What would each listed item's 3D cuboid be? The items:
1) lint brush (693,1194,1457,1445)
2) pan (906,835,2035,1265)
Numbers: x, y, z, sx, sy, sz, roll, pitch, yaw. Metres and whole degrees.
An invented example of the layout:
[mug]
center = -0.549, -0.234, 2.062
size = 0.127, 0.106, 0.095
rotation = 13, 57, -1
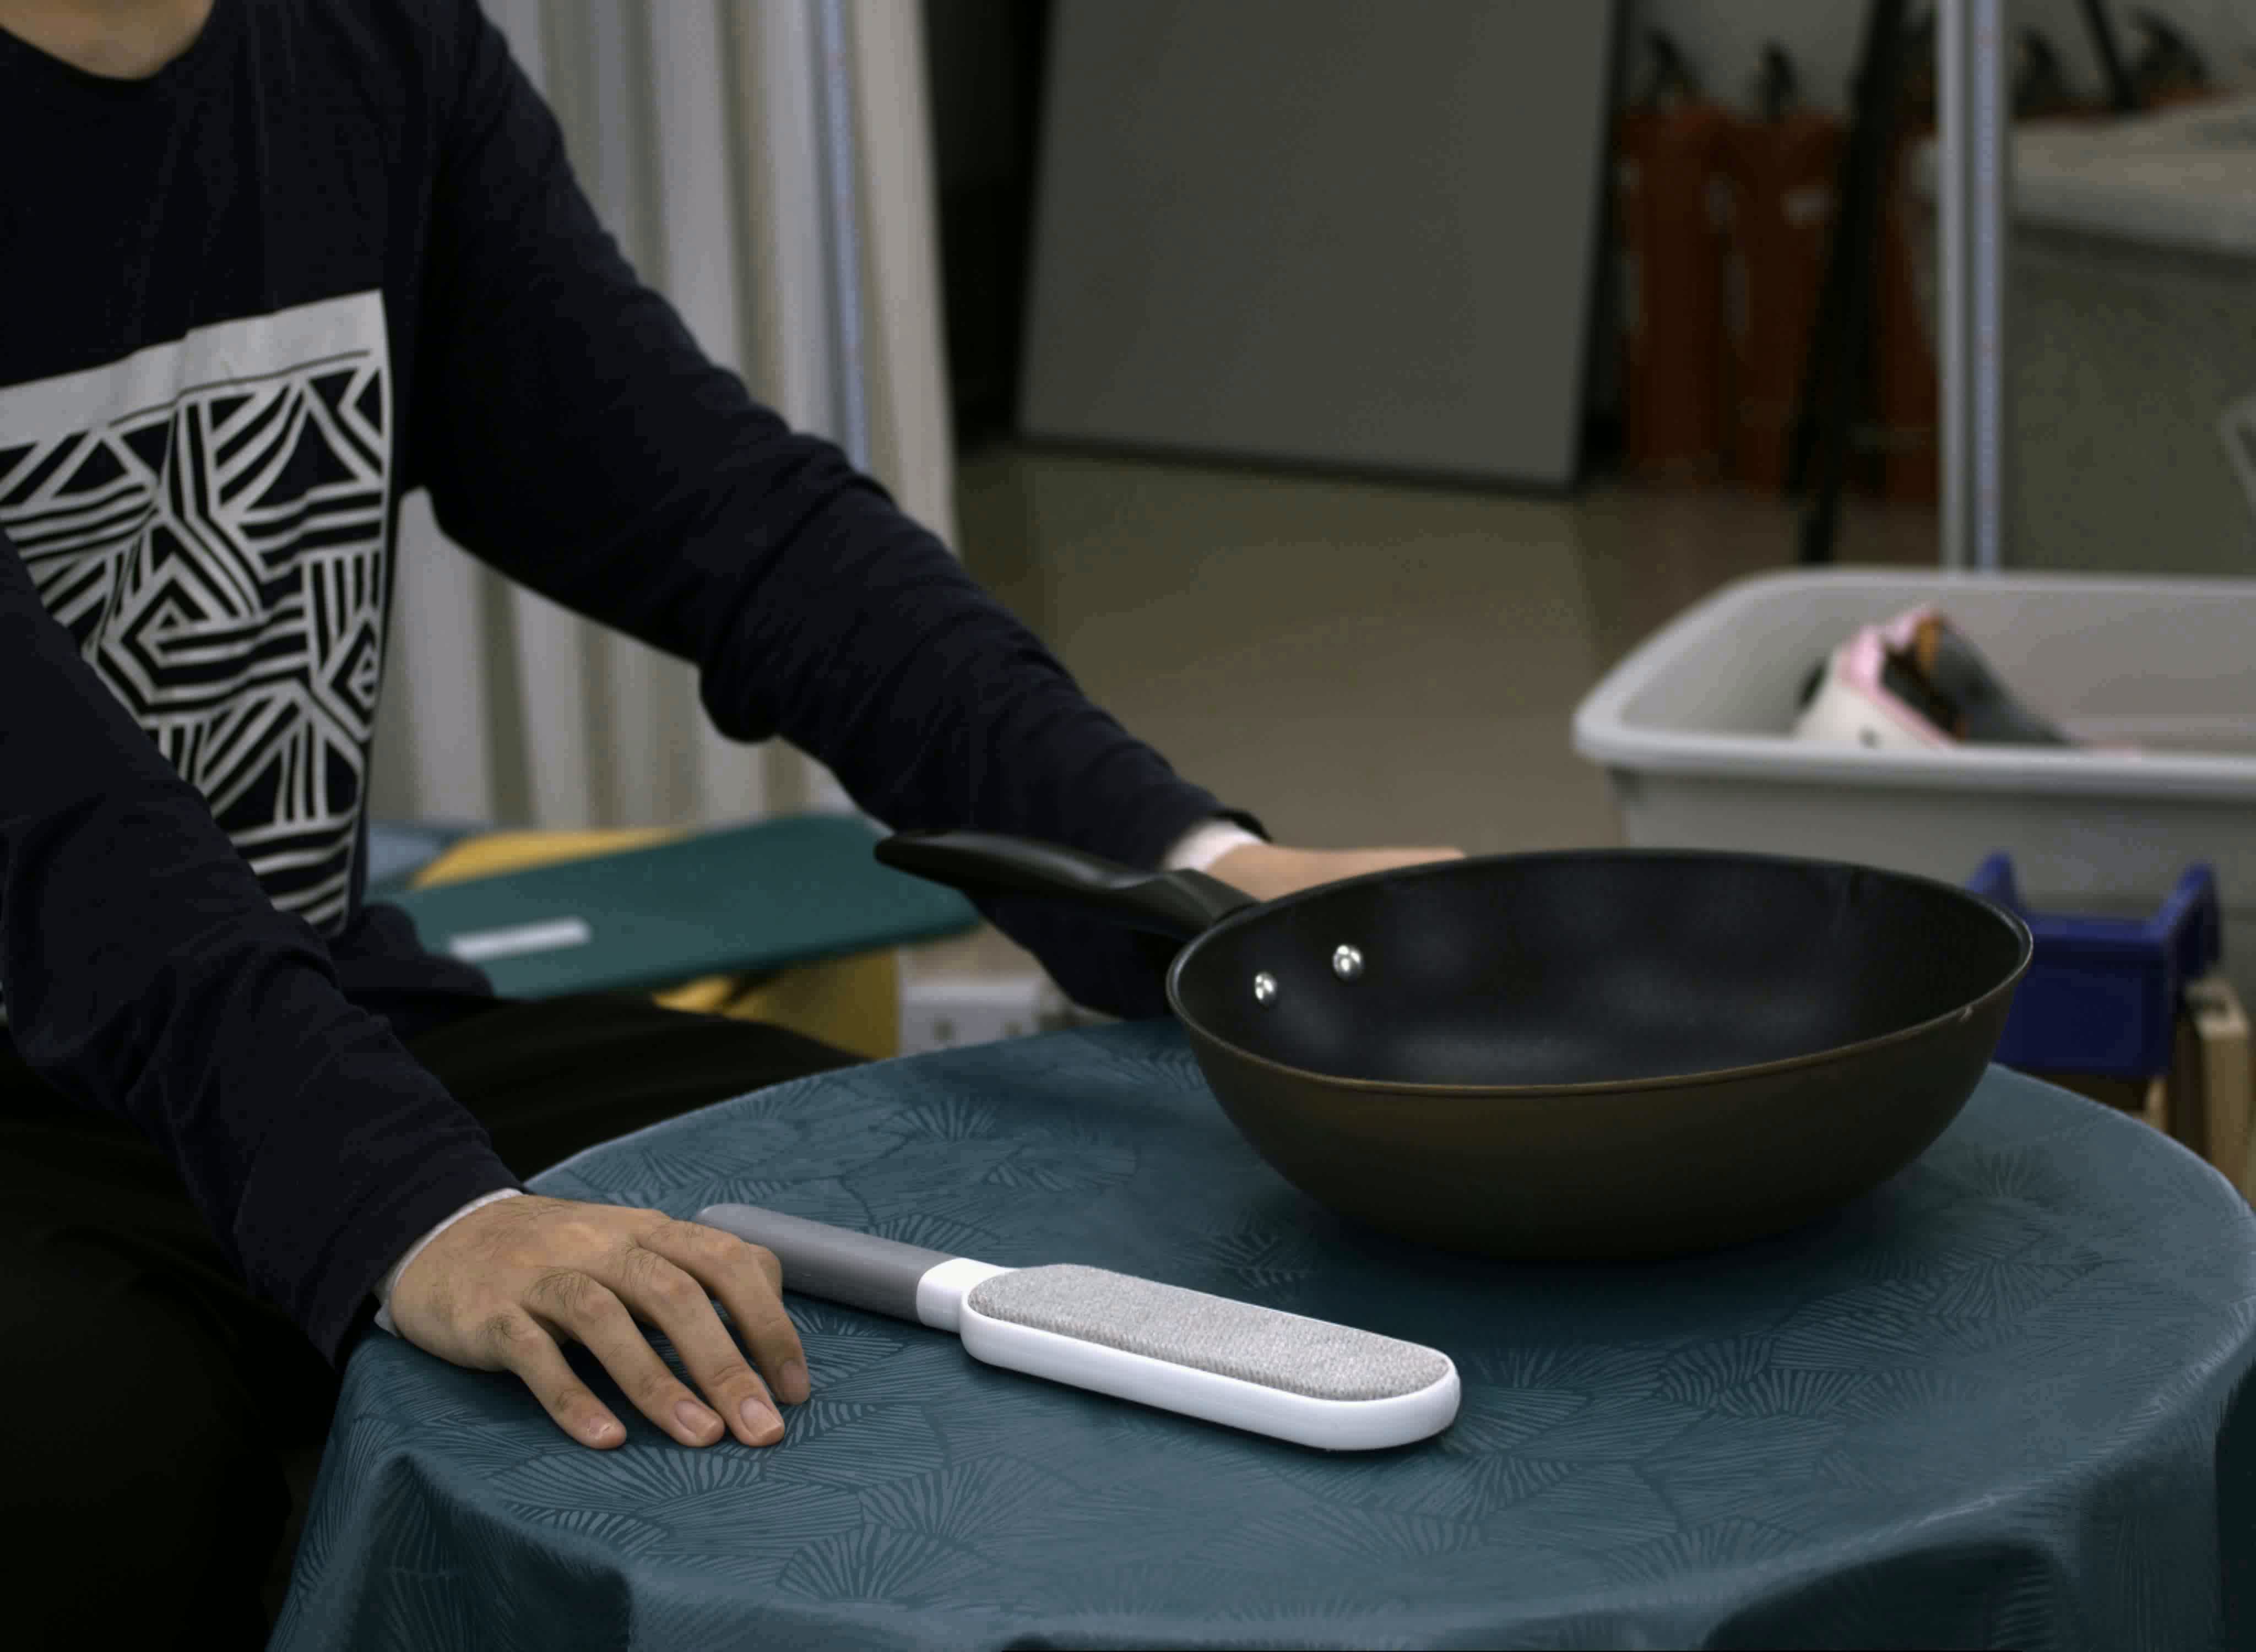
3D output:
[lint brush]
center = -0.023, 0.145, 1.625
size = 0.312, 0.021, 0.059
rotation = 9, 24, 44
[pan]
center = 0.087, 0.068, 1.792
size = 0.467, 0.088, 0.282
rotation = 9, 18, 44
